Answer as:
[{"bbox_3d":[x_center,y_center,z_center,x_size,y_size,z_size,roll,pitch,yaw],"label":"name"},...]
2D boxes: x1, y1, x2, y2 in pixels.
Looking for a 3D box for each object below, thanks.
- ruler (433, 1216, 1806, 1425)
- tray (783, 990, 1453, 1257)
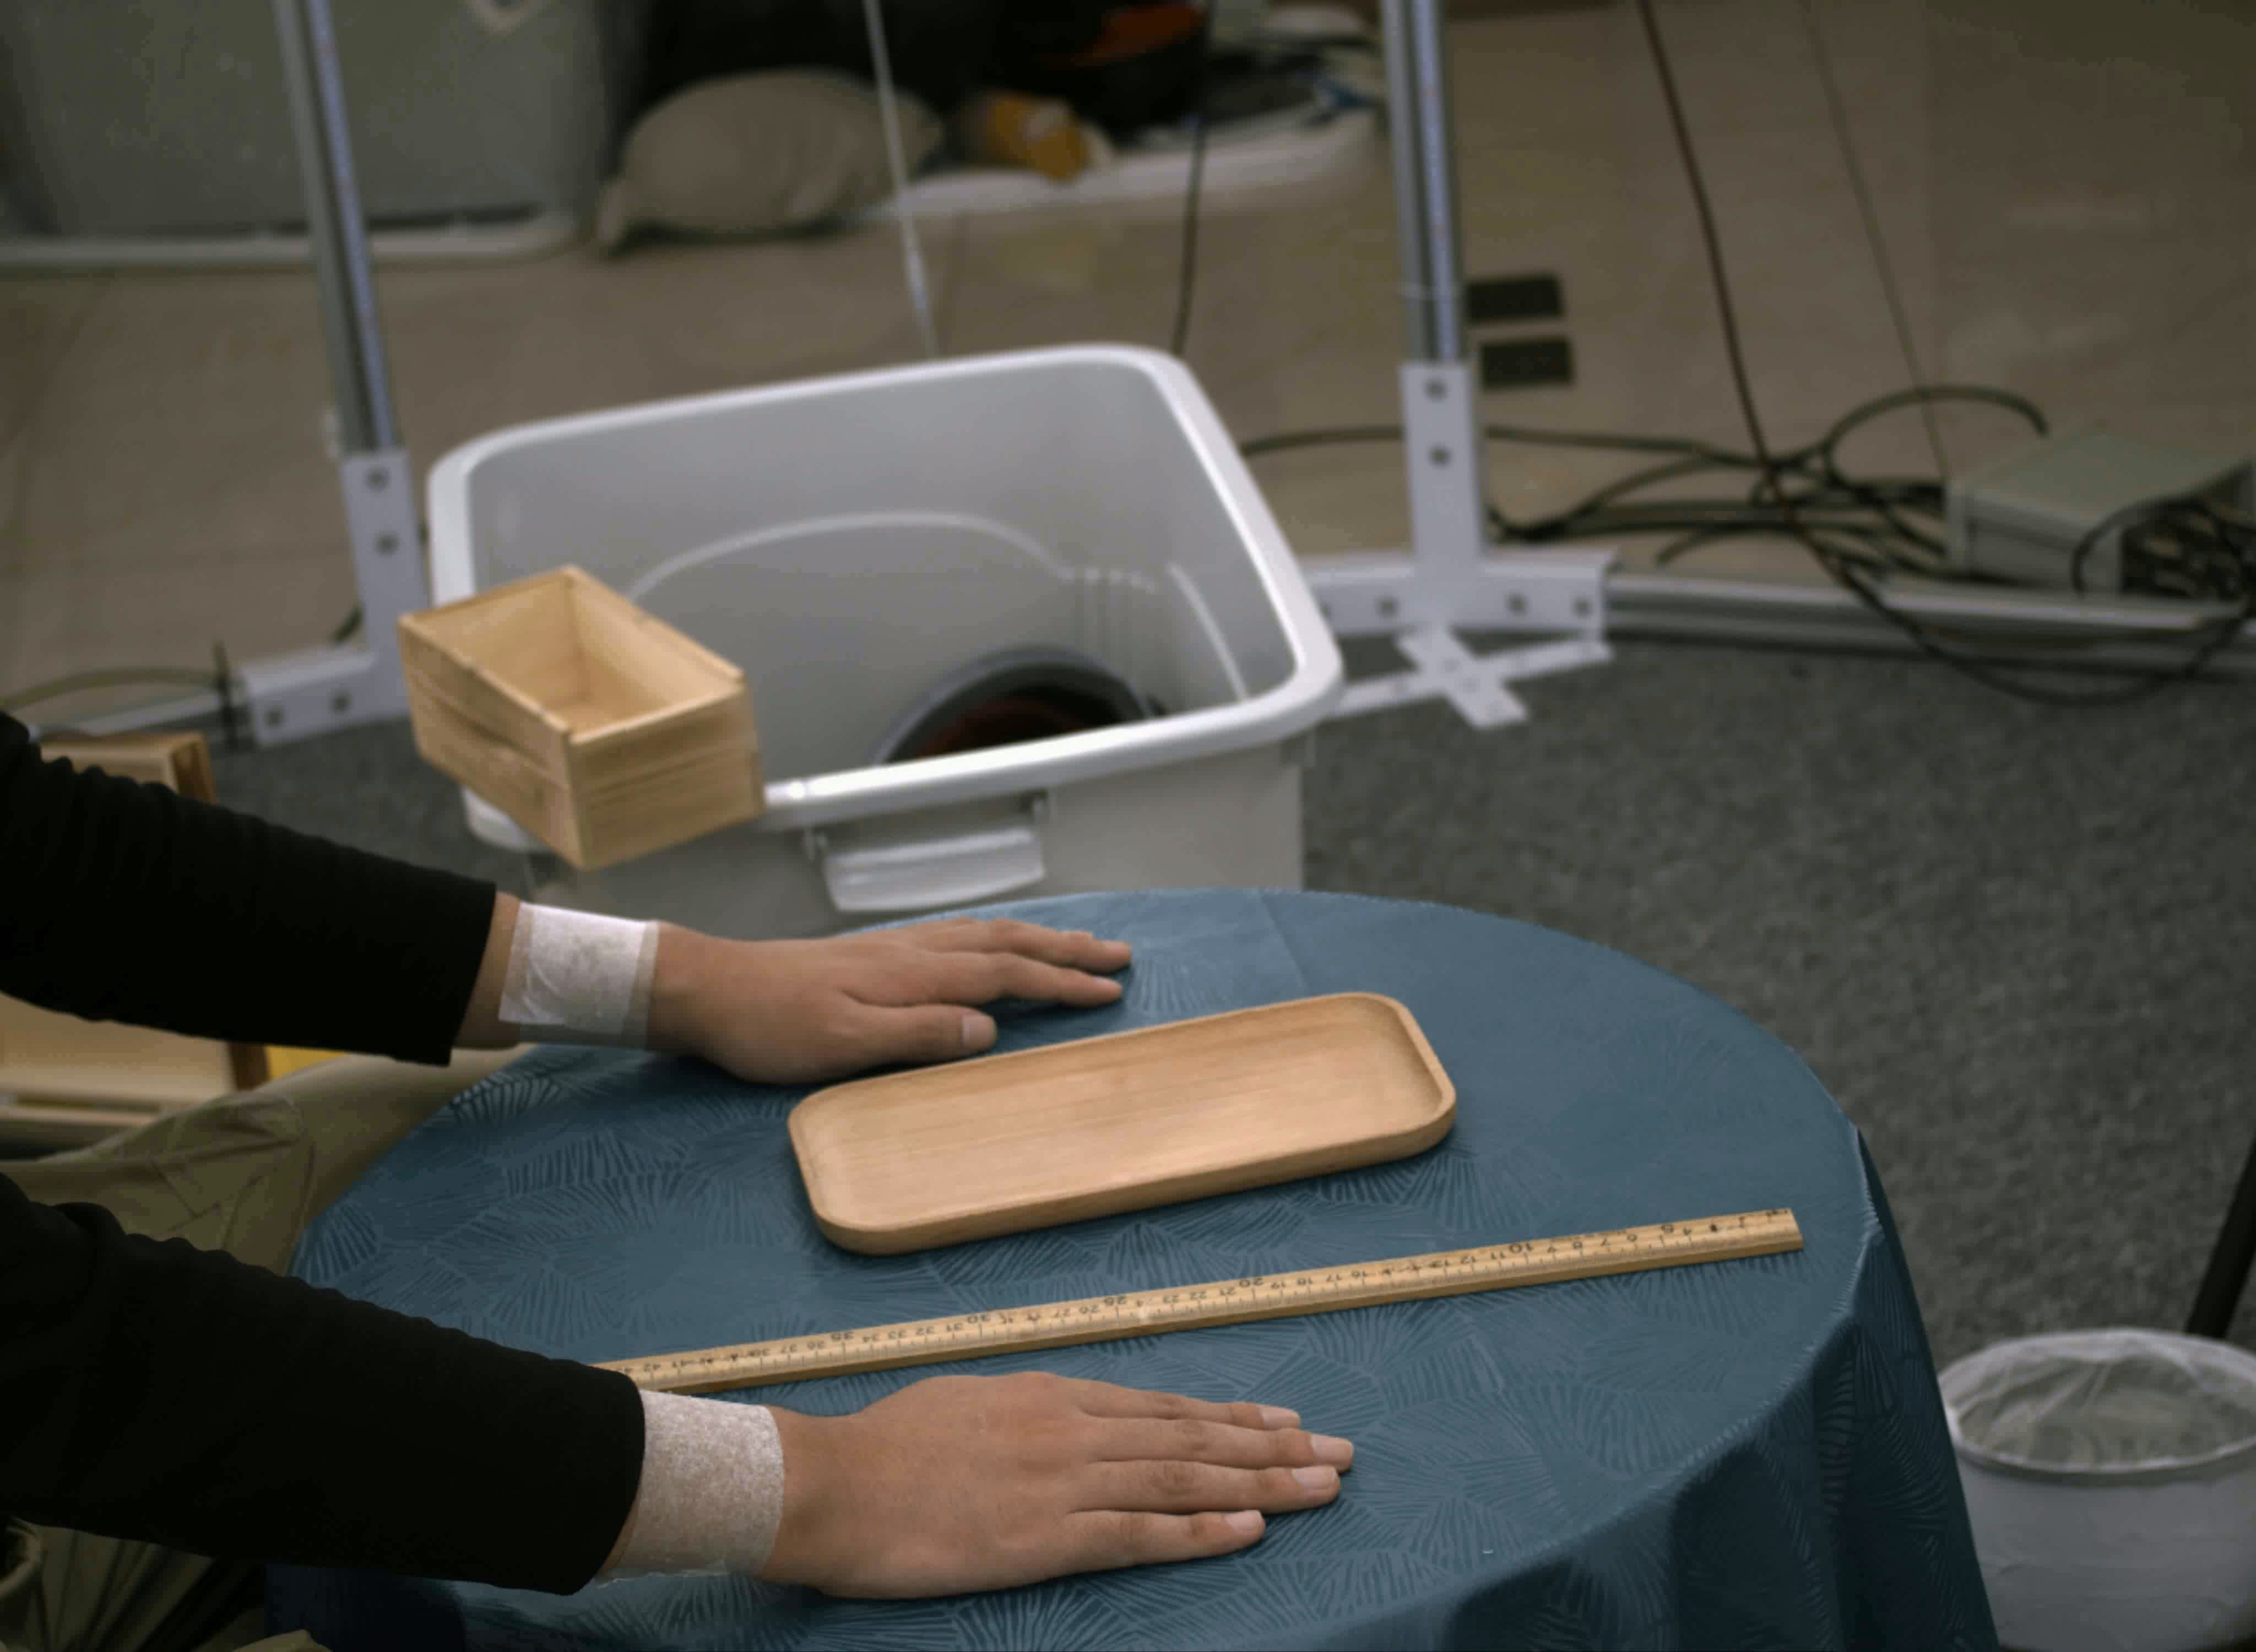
[{"bbox_3d":[-0.004,0.178,2.059,0.499,0.006,0.026,-7,23,-1],"label":"ruler"},{"bbox_3d":[-0.005,0.114,2.183,0.250,0.023,0.129,-11,23,-6],"label":"tray"}]
